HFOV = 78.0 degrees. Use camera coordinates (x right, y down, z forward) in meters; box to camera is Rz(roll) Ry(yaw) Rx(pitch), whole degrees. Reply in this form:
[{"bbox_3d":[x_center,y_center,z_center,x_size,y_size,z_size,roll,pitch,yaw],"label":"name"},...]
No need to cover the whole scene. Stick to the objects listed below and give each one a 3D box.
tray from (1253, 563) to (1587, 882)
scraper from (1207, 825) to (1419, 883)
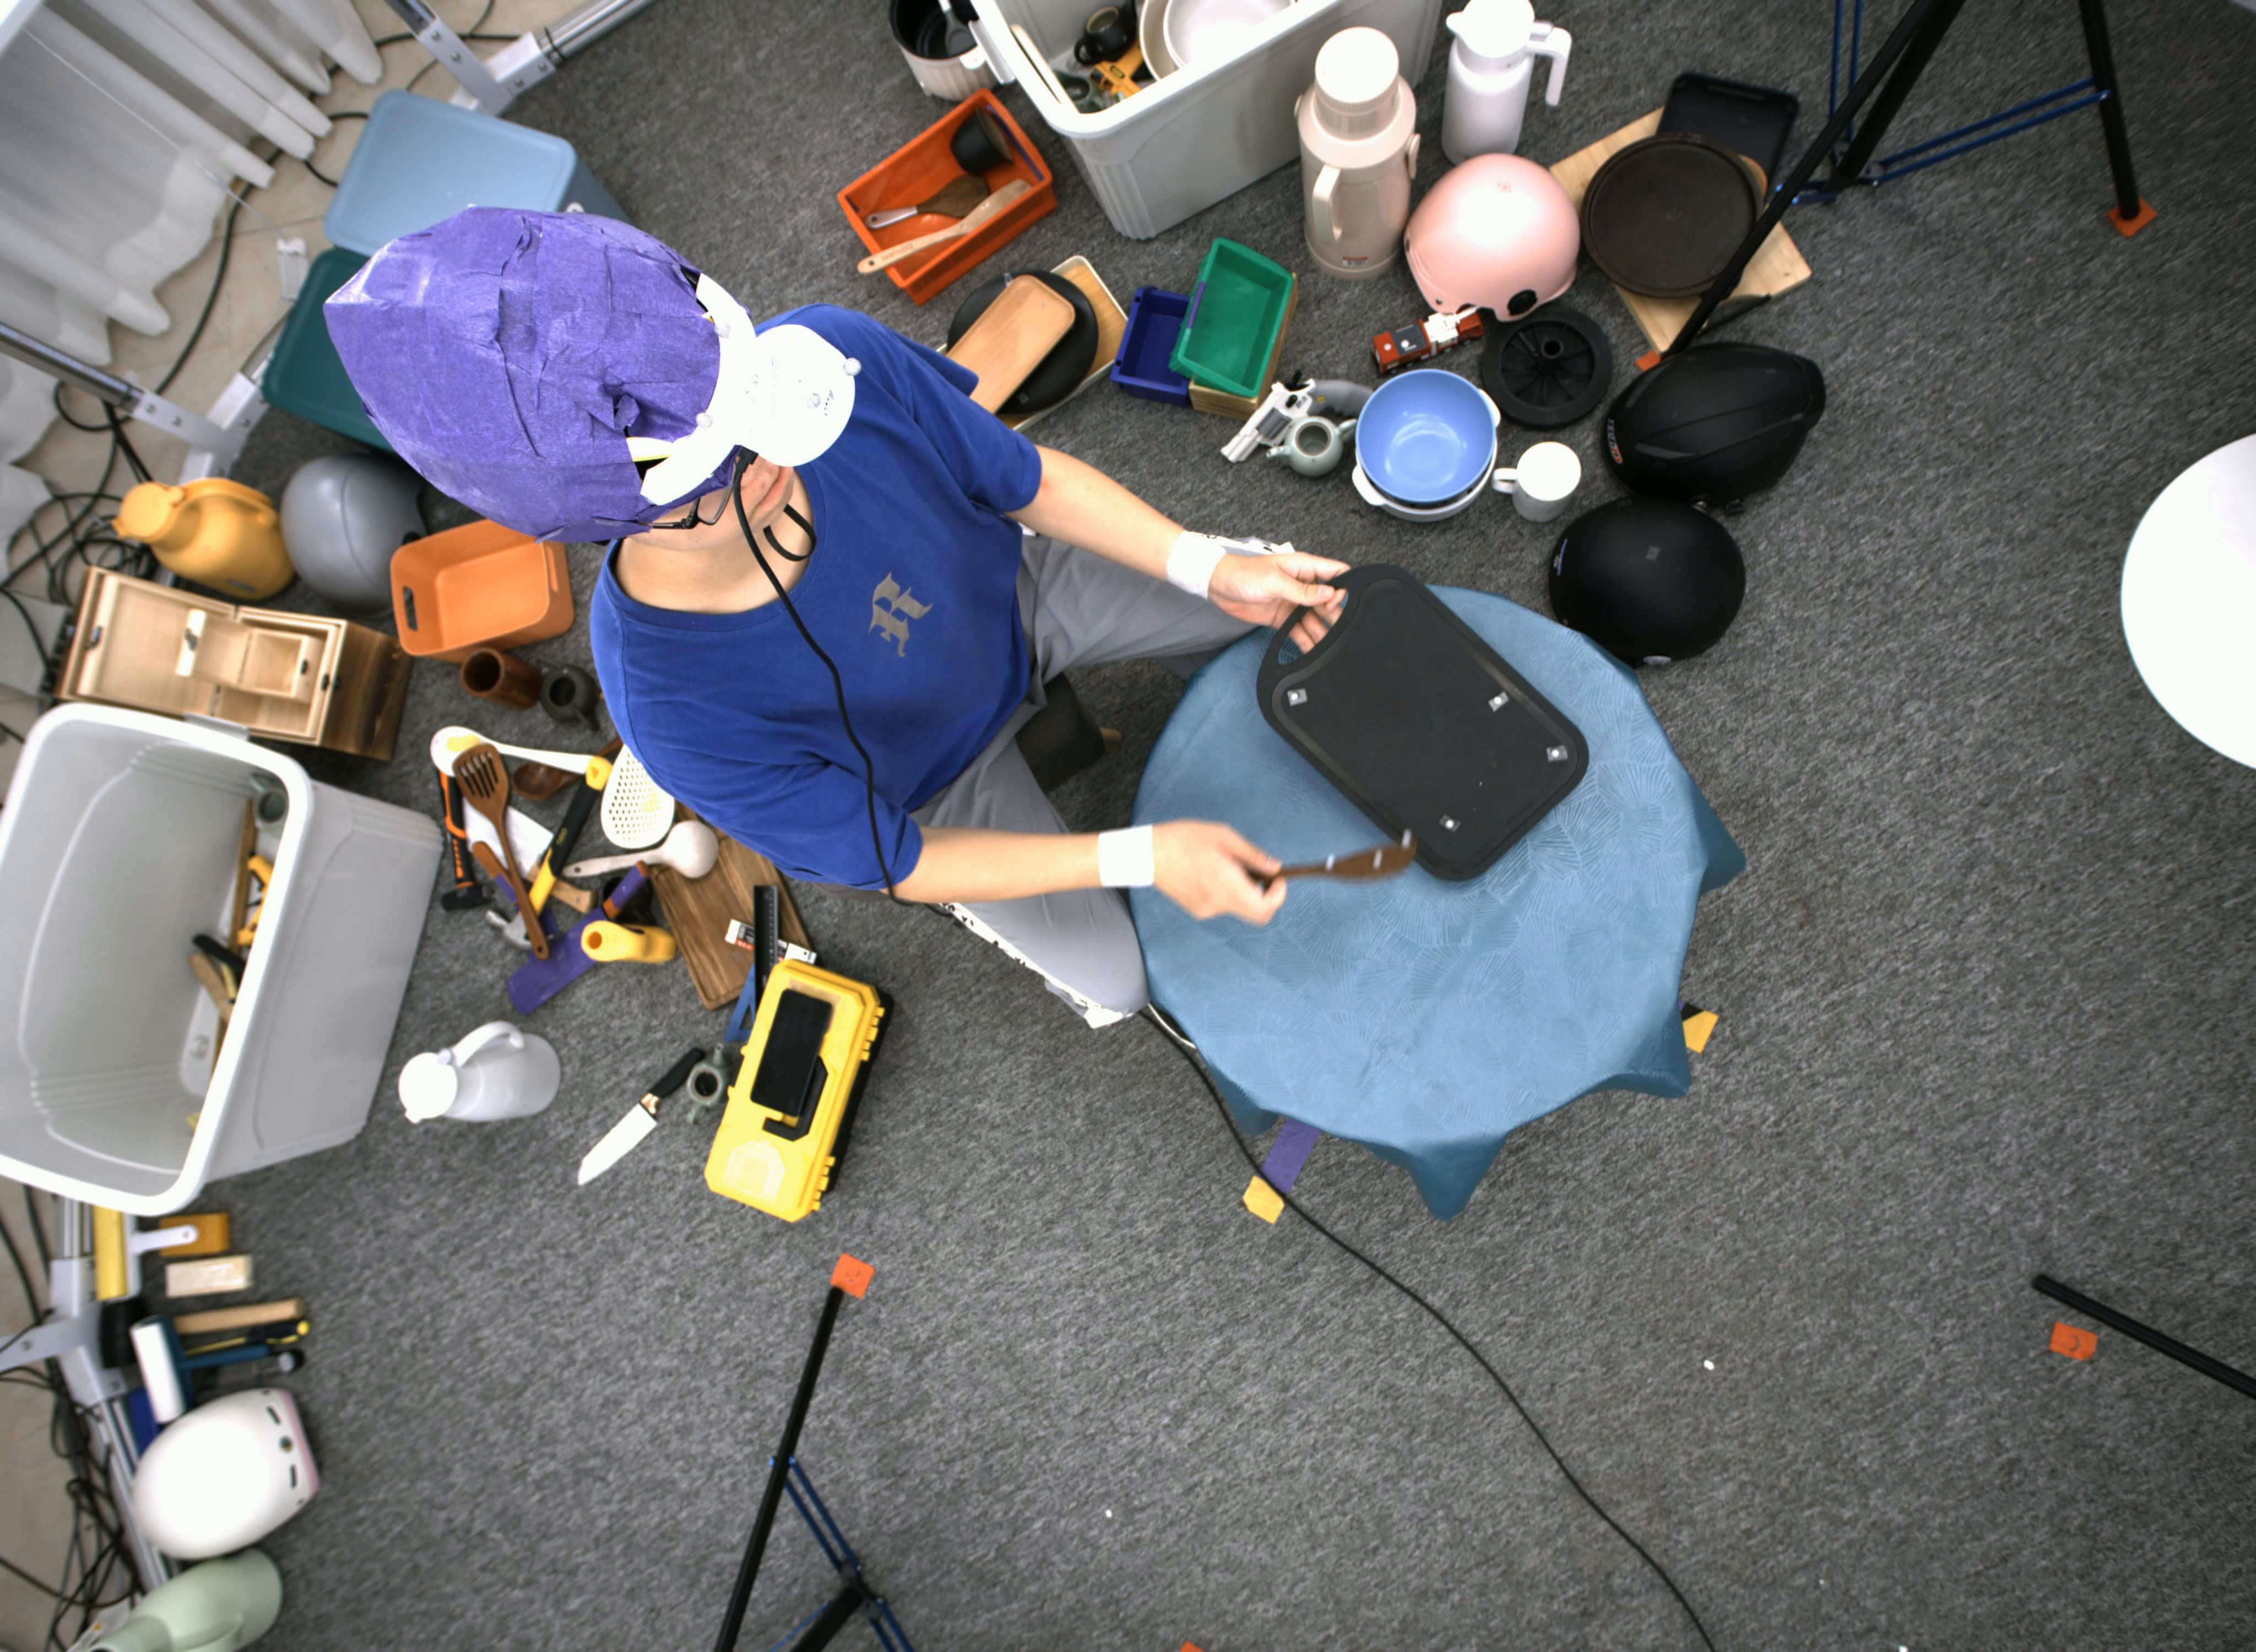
[{"bbox_3d":[0.281,-0.105,1.370,0.325,0.009,0.215,43,114,-2],"label":"tray"},{"bbox_3d":[0.174,0.032,1.315,0.213,0.074,0.011,-11,108,25],"label":"scraper"}]
